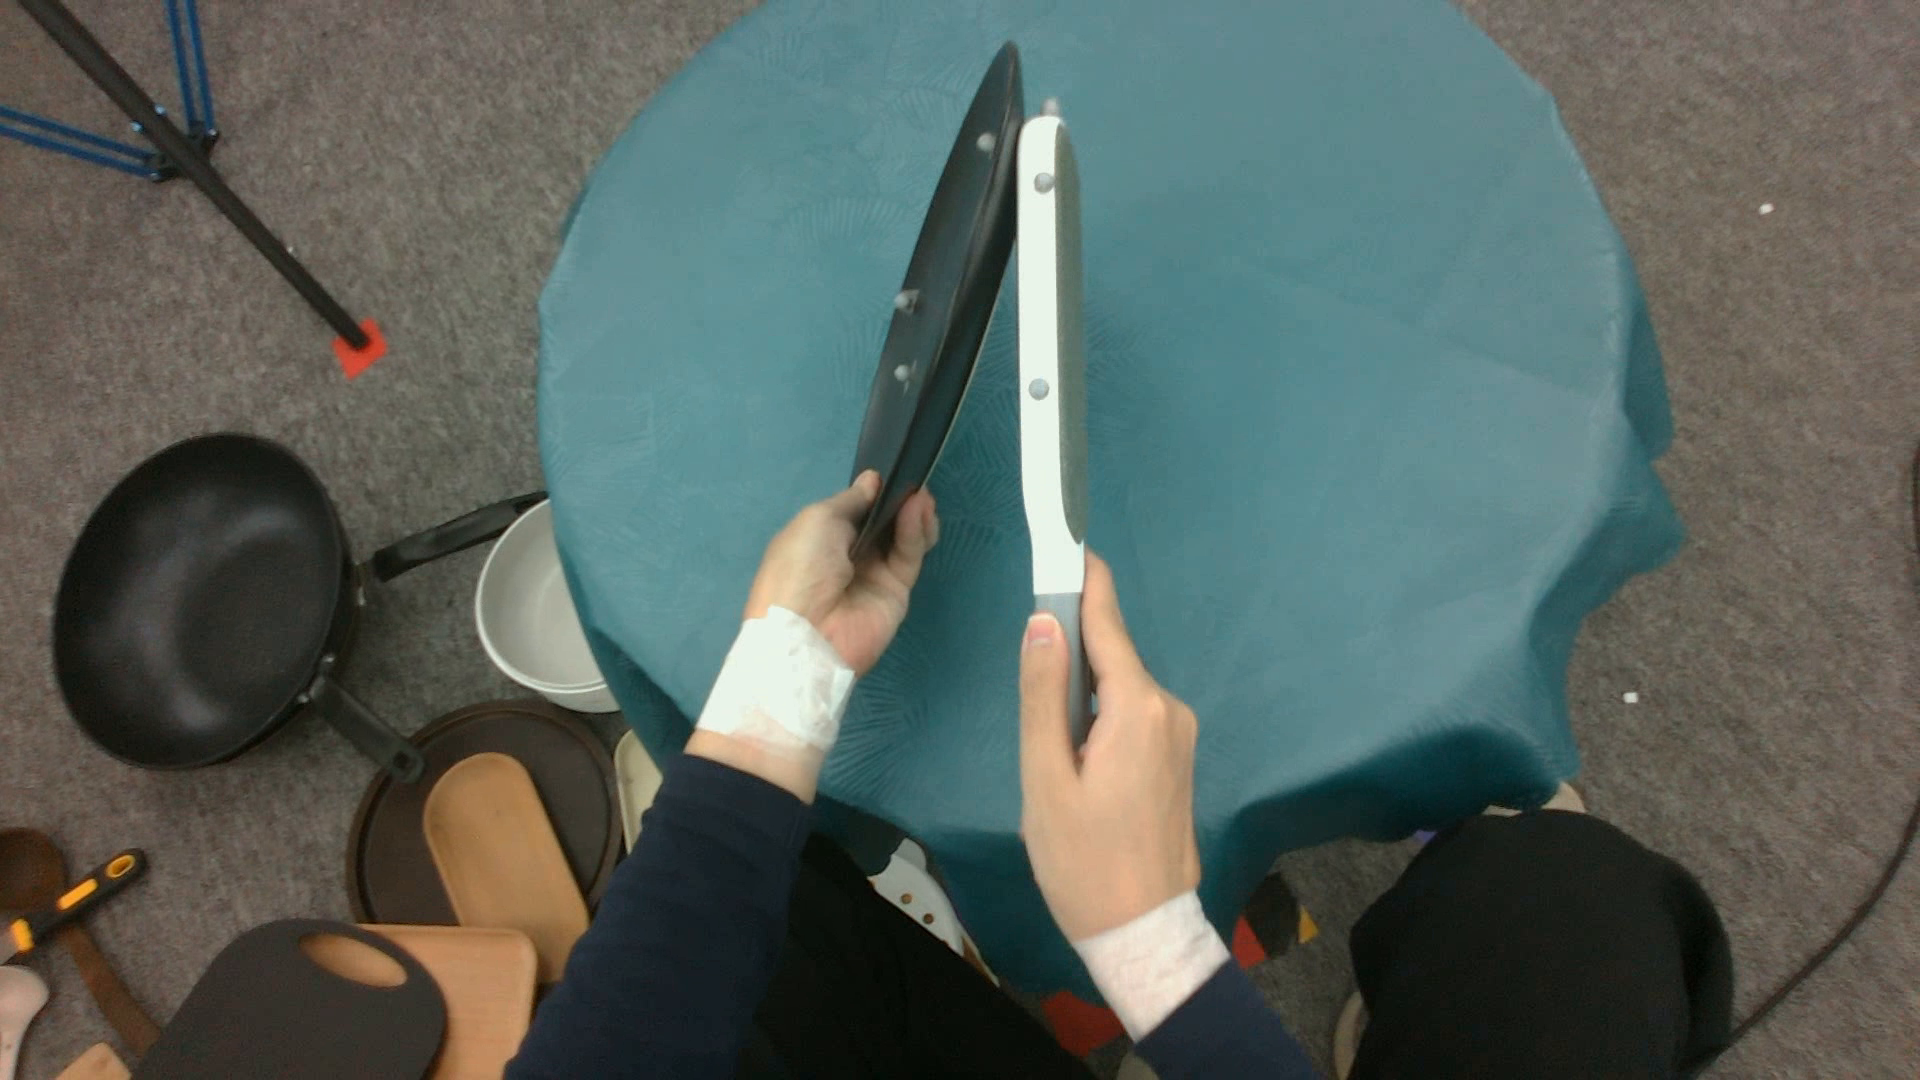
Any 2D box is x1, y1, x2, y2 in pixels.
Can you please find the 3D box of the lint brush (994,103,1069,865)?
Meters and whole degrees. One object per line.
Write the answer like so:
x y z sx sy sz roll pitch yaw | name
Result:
0.029 -0.028 0.554 0.021 0.060 0.309 -3 81 9 | lint brush

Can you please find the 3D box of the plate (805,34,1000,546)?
-0.025 -0.111 0.640 0.023 0.243 0.245 17 67 -12 | plate
